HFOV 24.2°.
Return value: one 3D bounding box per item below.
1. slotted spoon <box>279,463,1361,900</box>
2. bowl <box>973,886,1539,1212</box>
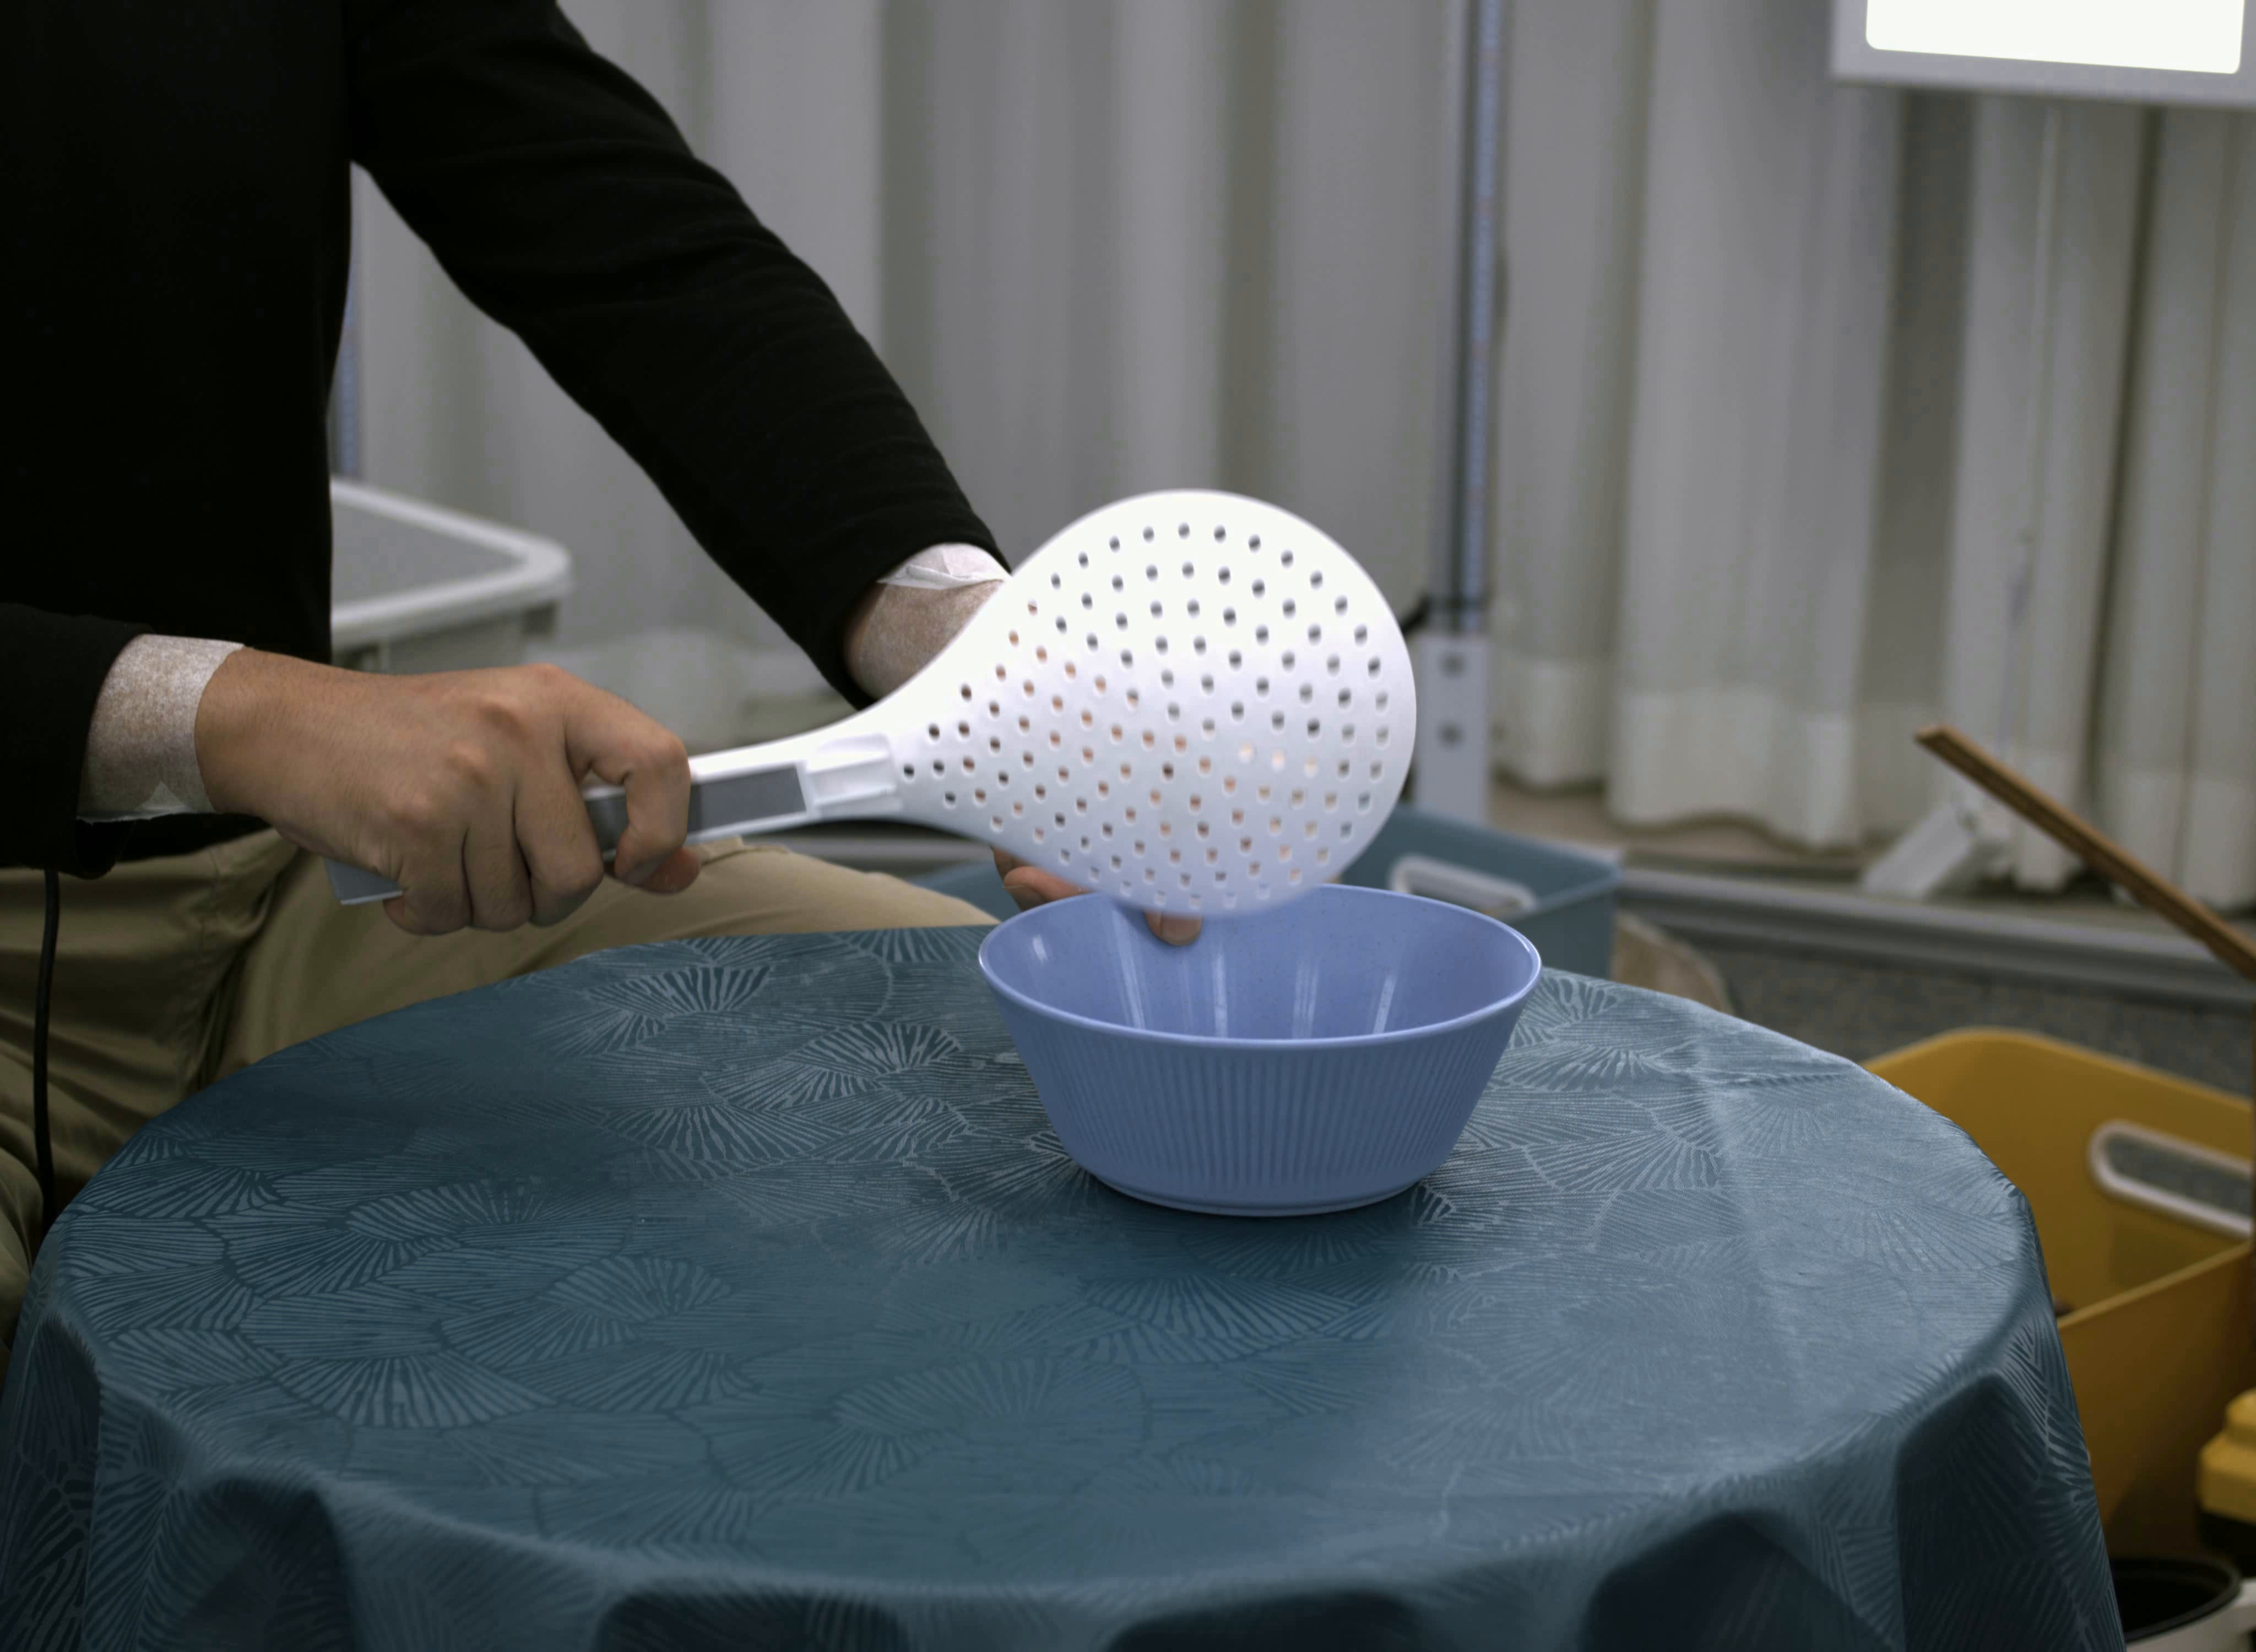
[{"bbox_3d":[-0.100,-0.023,1.630,0.347,0.137,0.045,-10,20,16],"label":"slotted spoon"},{"bbox_3d":[0.040,0.071,1.638,0.175,0.071,0.175,0,15,1],"label":"bowl"}]
